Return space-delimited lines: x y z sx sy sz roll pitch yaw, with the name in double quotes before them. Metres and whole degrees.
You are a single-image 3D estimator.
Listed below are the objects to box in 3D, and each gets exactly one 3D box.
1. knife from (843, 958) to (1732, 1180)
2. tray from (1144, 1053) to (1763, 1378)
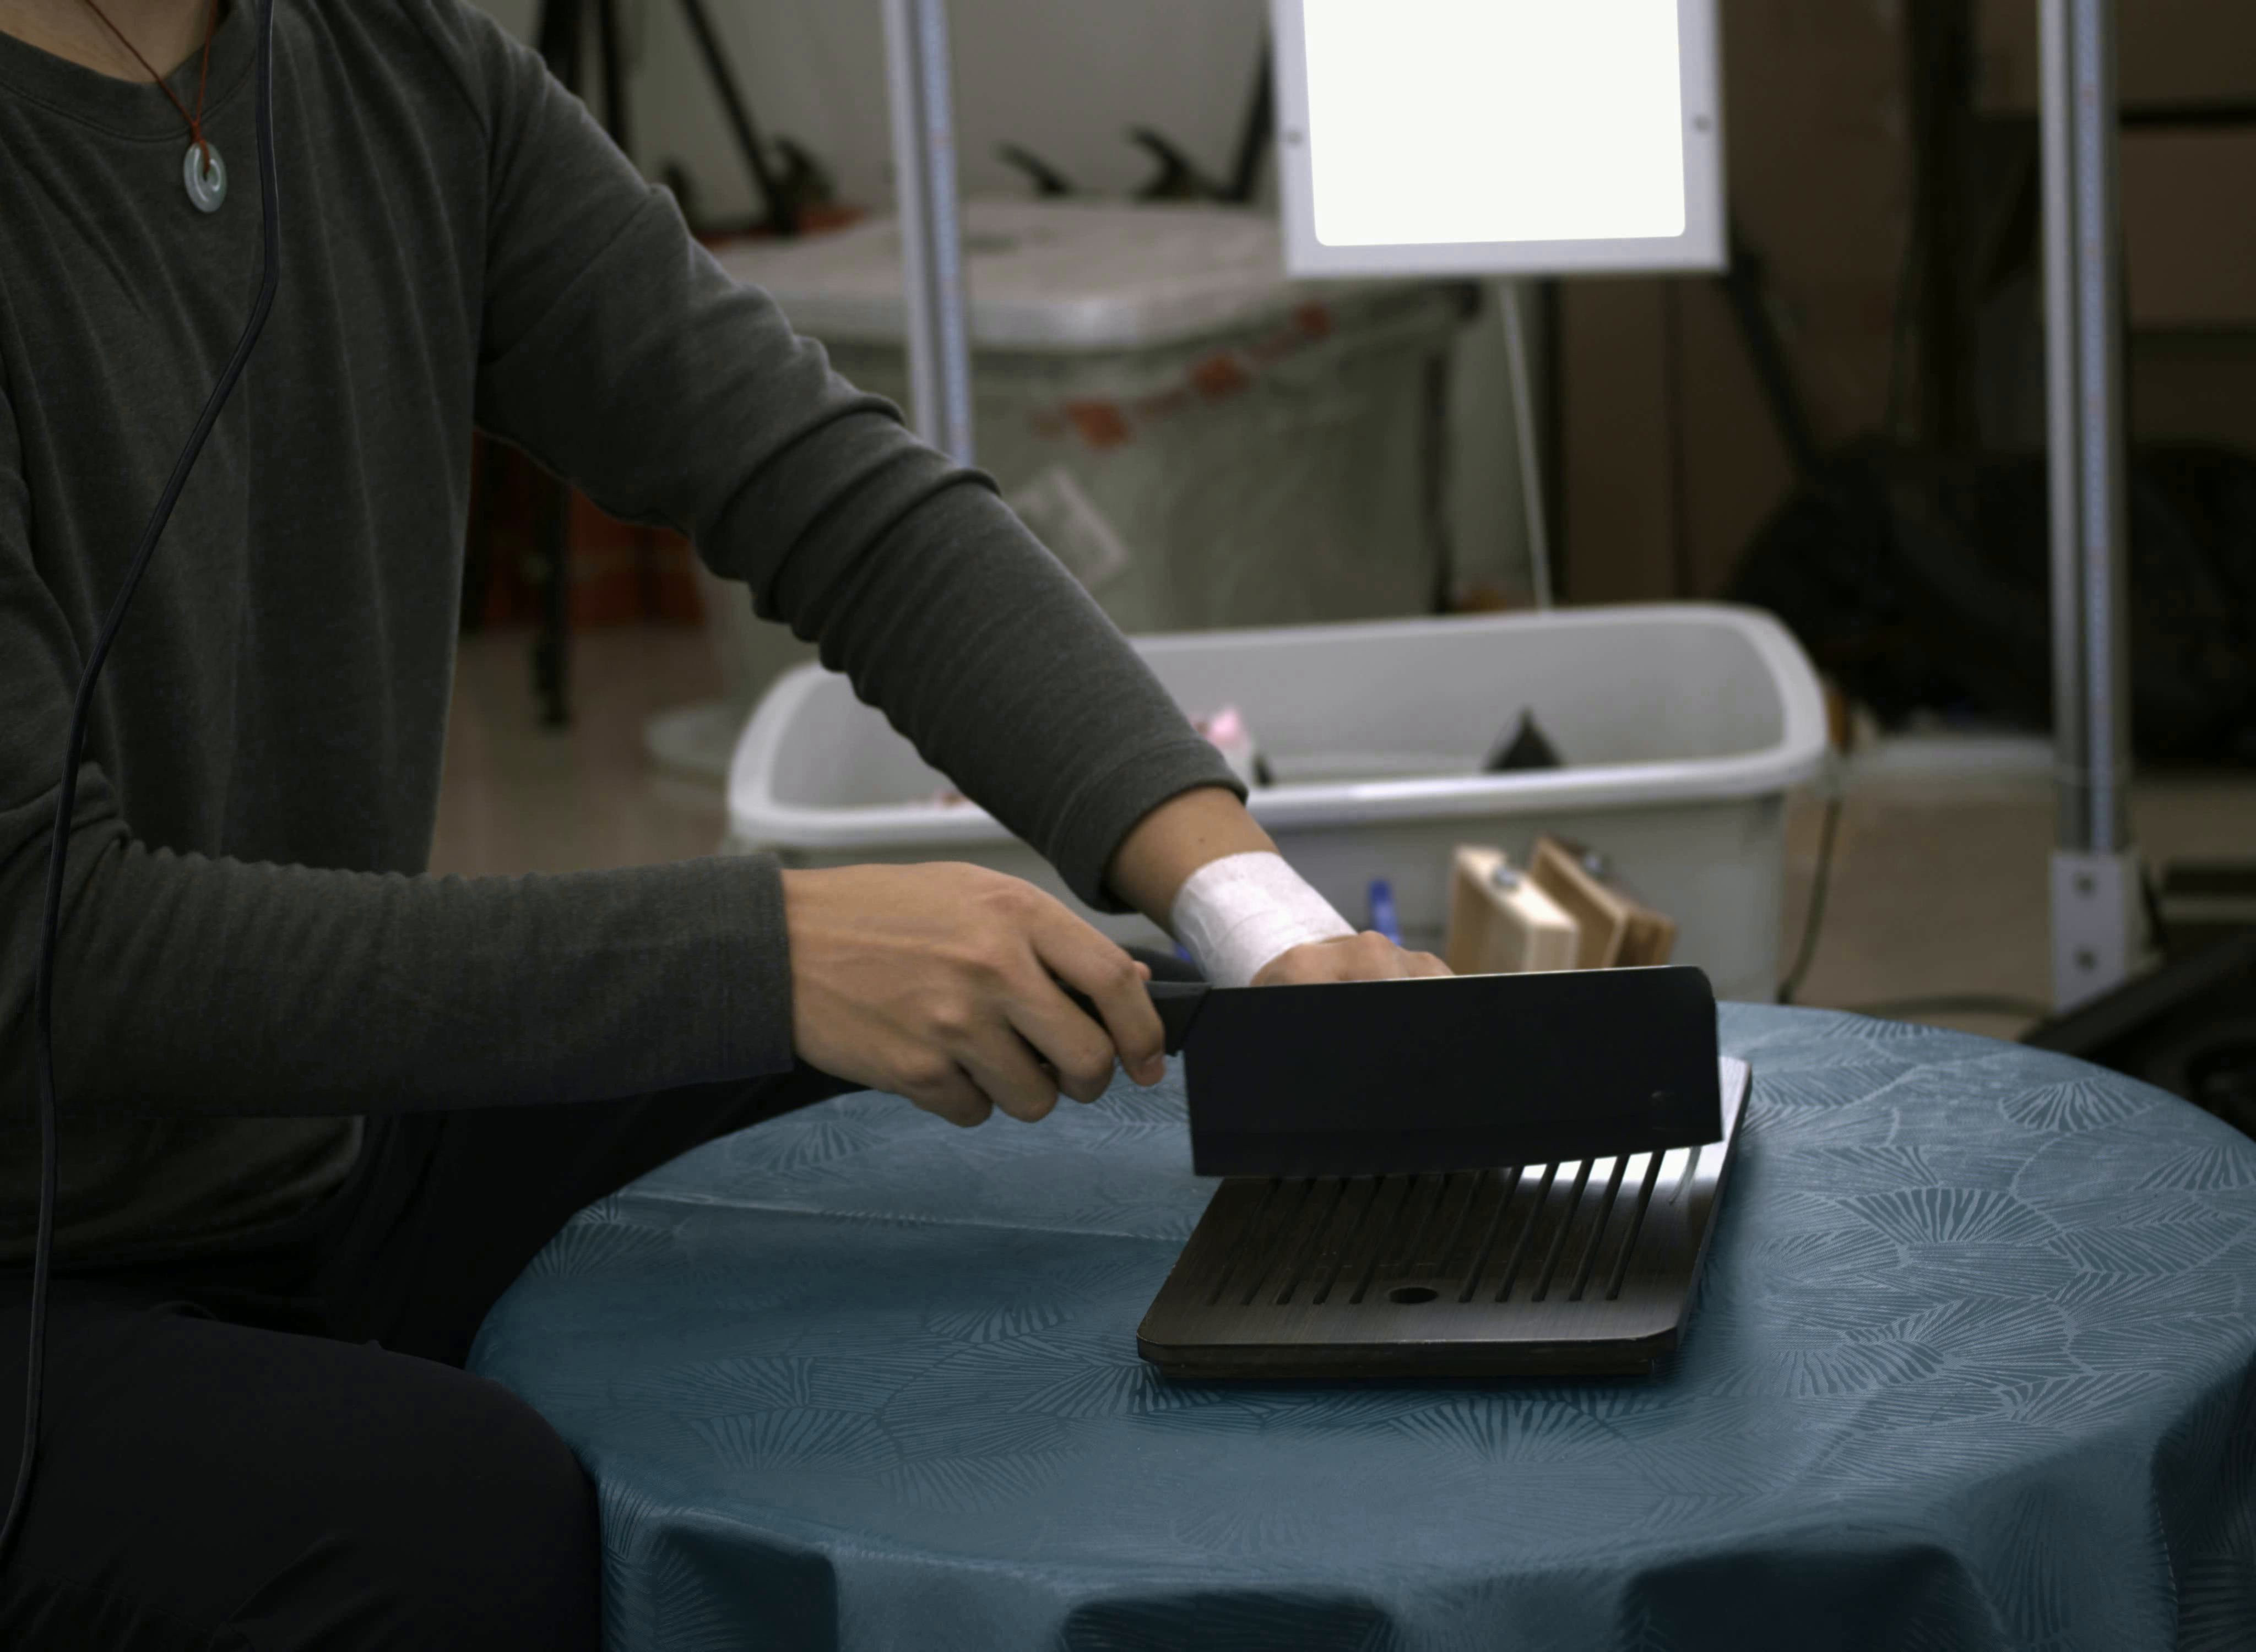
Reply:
"knife" 0.052 0.080 1.842 0.304 0.081 0.020 1 9 13
"tray" 0.115 0.127 1.819 0.171 0.019 0.302 -3 13 13
